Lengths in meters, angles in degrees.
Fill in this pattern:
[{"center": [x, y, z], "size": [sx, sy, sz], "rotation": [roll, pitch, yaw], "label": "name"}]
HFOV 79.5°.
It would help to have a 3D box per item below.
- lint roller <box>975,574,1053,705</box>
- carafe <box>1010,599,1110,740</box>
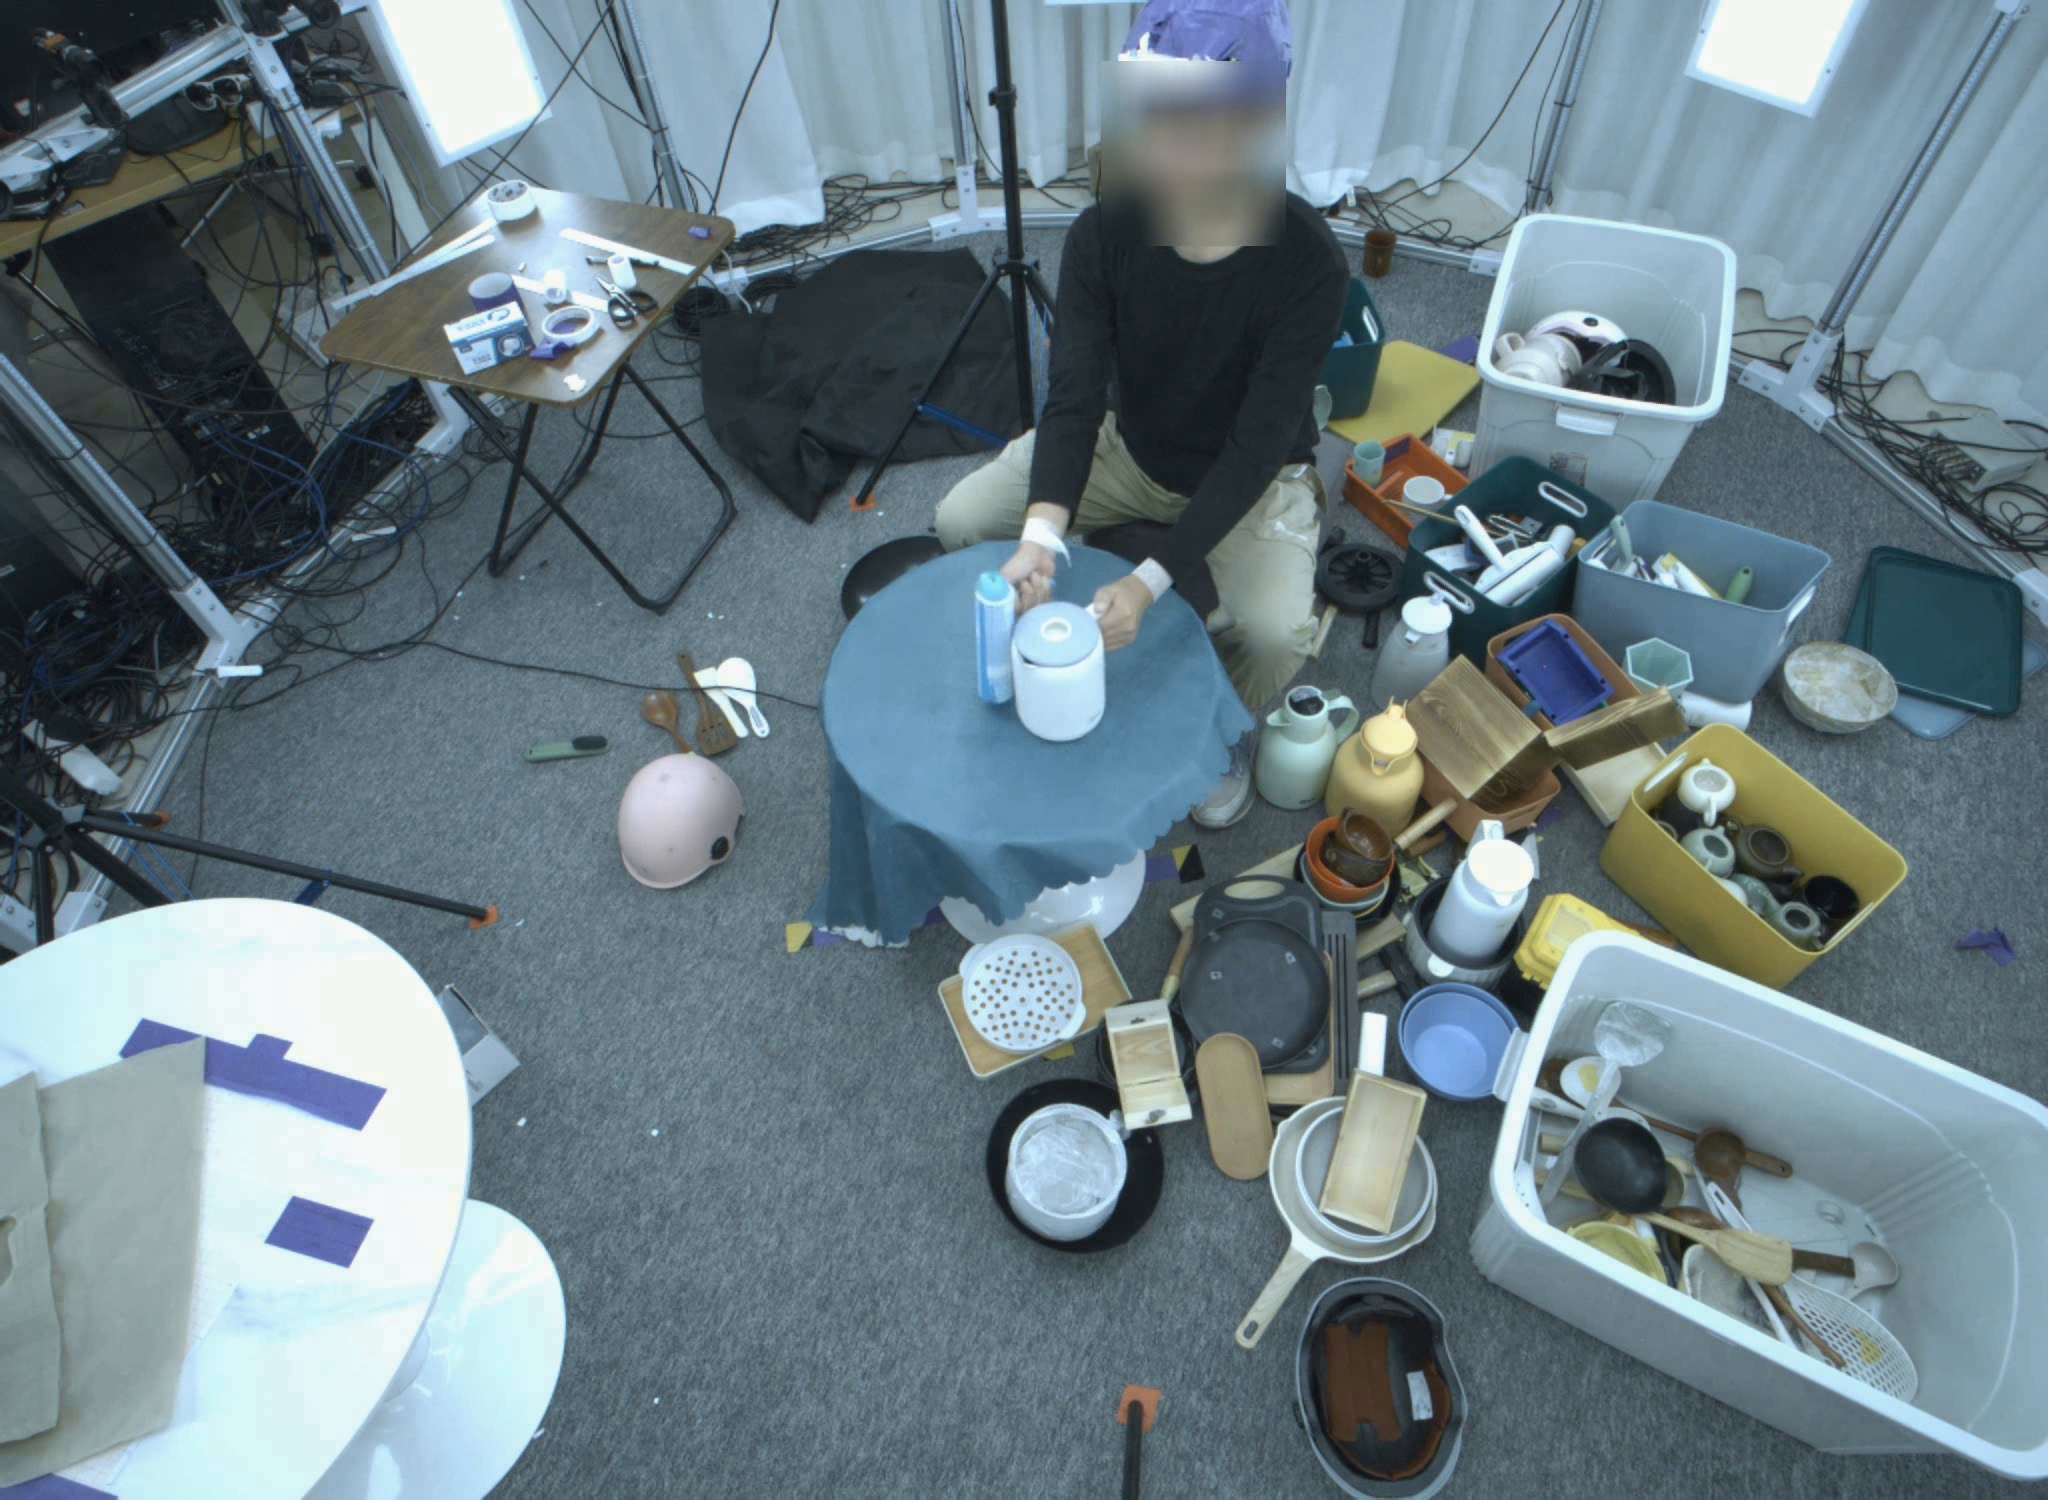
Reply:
[{"center": [-0.019, -0.191, 1.779], "size": [0.067, 0.231, 0.180], "rotation": [14, 49, 15], "label": "lint roller"}, {"center": [0.064, -0.128, 1.770], "size": [0.130, 0.184, 0.192], "rotation": [32, 60, 22], "label": "carafe"}]
